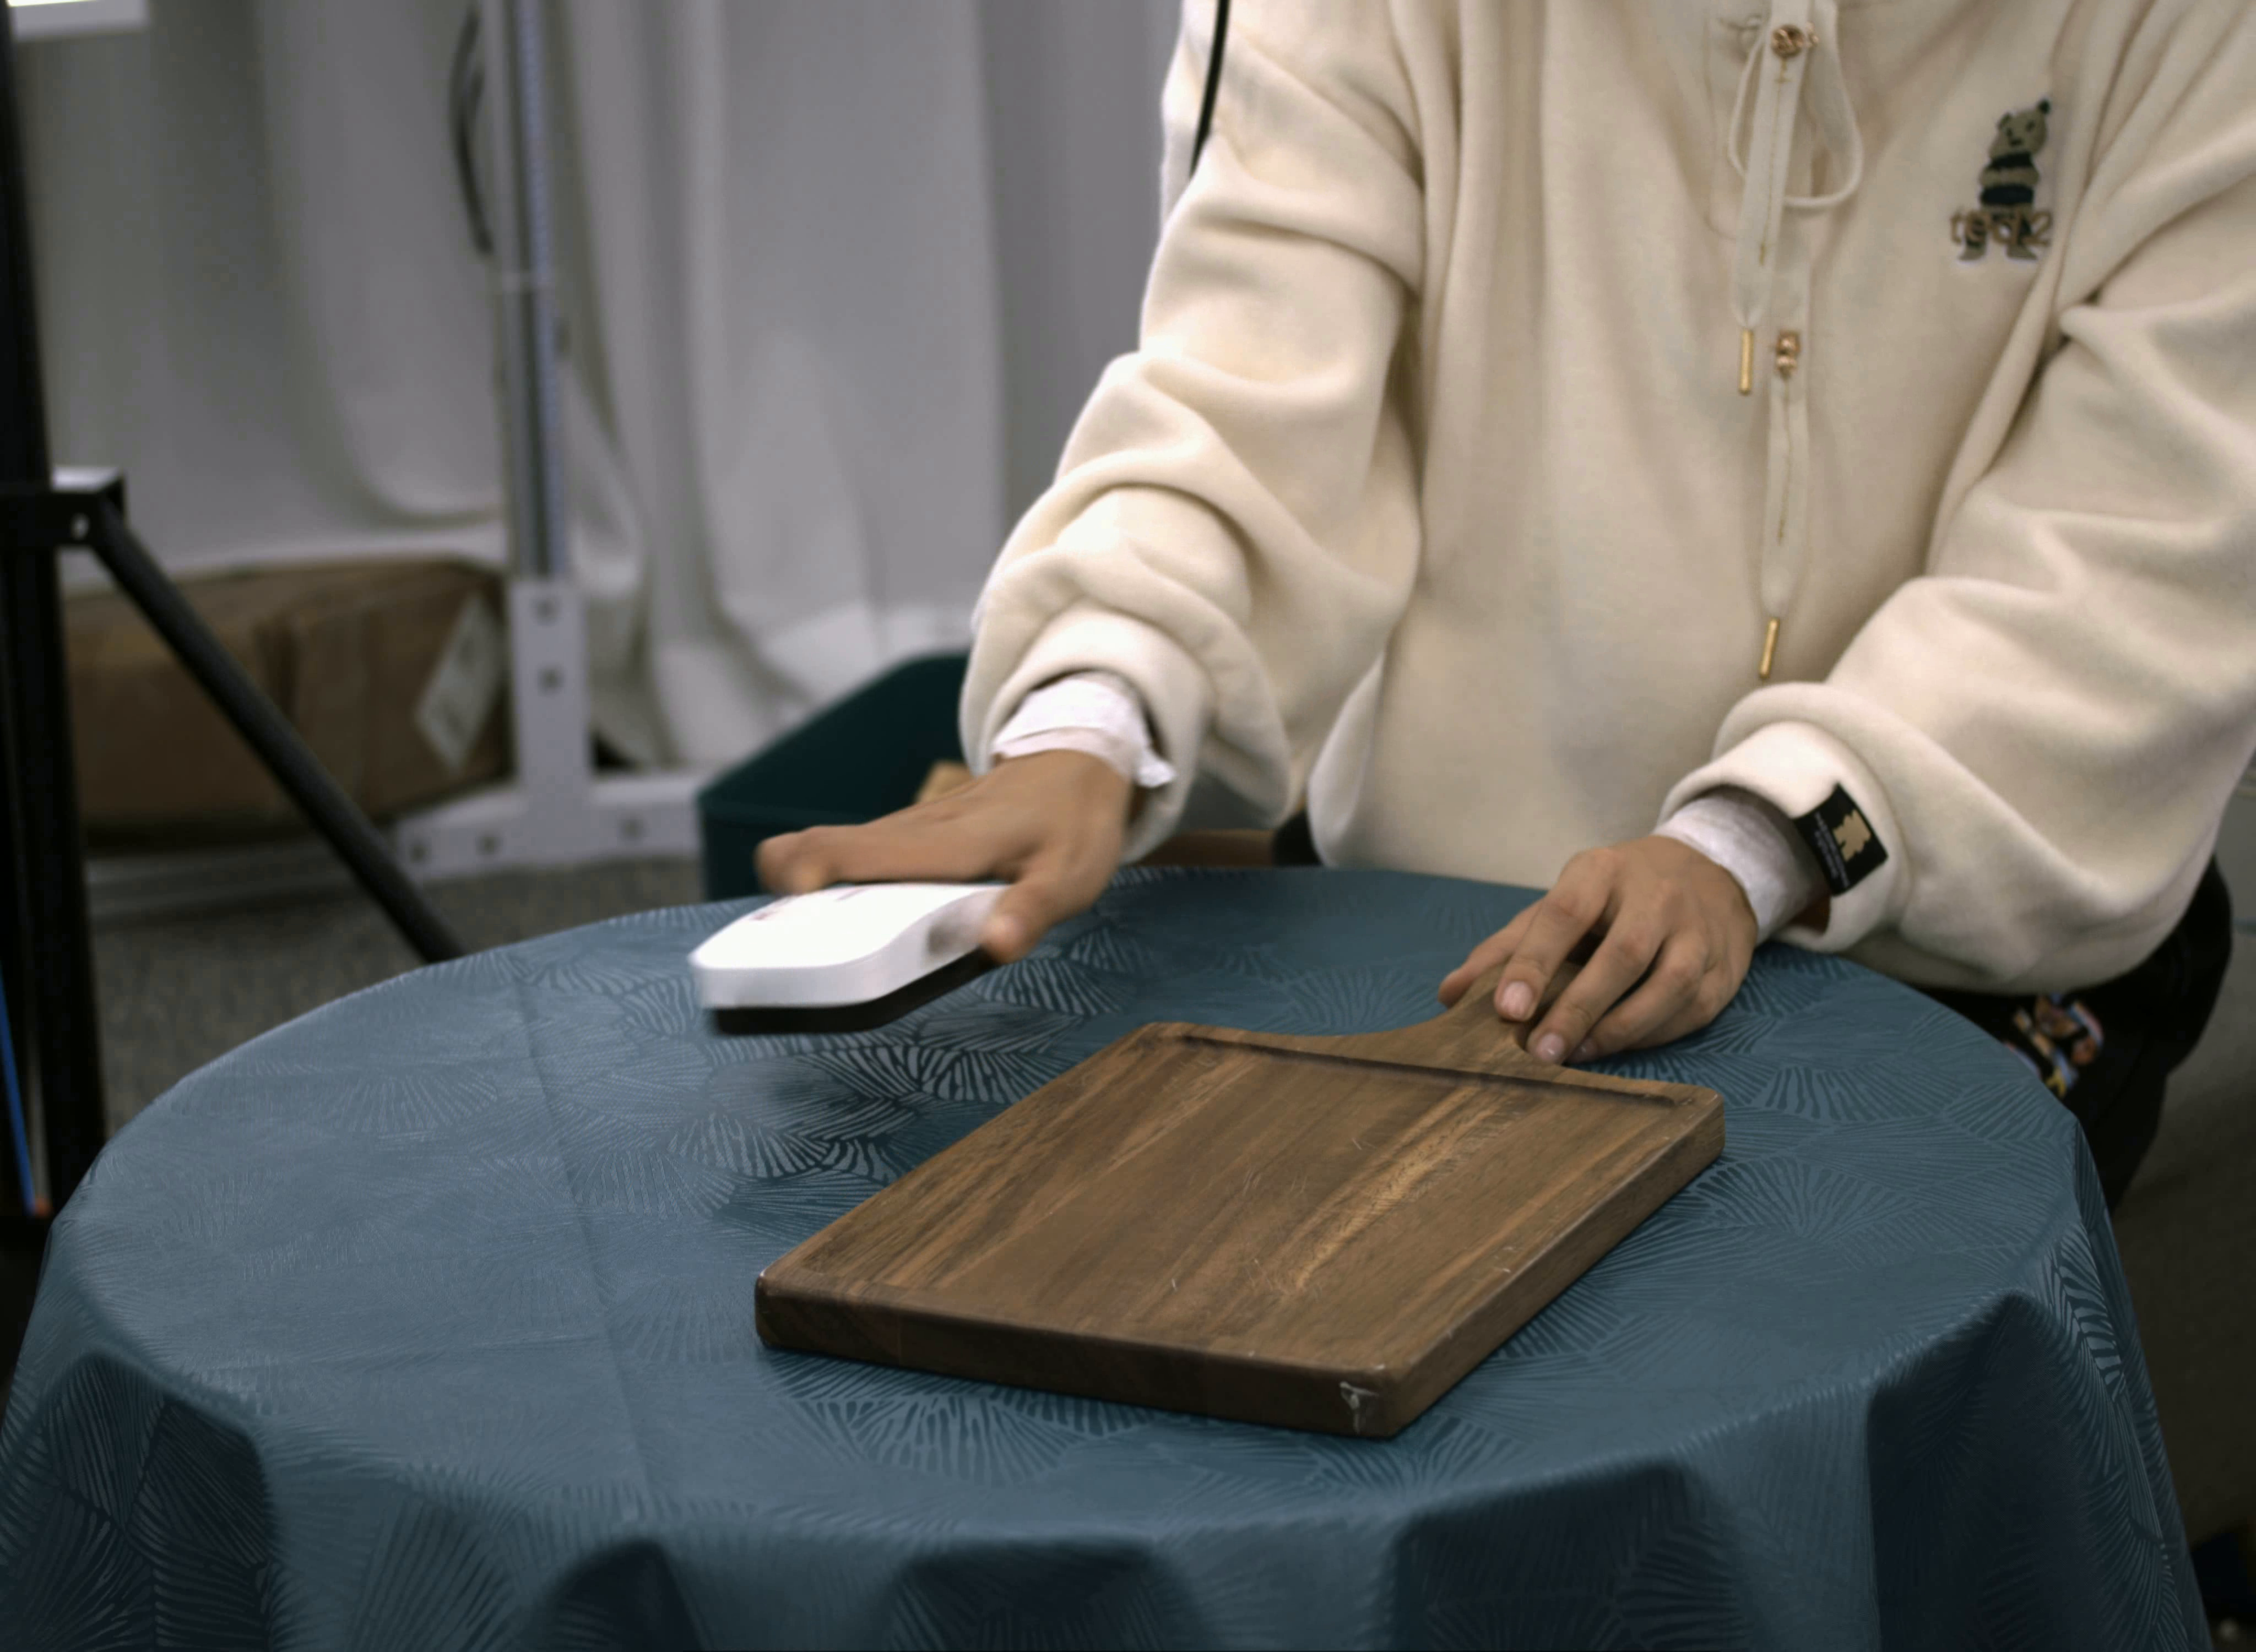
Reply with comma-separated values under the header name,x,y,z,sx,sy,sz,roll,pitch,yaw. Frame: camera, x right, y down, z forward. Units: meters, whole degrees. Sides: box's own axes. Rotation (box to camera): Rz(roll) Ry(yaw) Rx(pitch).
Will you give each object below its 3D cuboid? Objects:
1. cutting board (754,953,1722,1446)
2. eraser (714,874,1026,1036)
name,x,y,z,sx,sy,sz,roll,pitch,yaw
cutting board,0.059,0.097,1.548,0.204,0.023,0.346,6,18,26
eraser,-0.075,0.036,1.620,0.064,0.034,0.129,-2,9,21
